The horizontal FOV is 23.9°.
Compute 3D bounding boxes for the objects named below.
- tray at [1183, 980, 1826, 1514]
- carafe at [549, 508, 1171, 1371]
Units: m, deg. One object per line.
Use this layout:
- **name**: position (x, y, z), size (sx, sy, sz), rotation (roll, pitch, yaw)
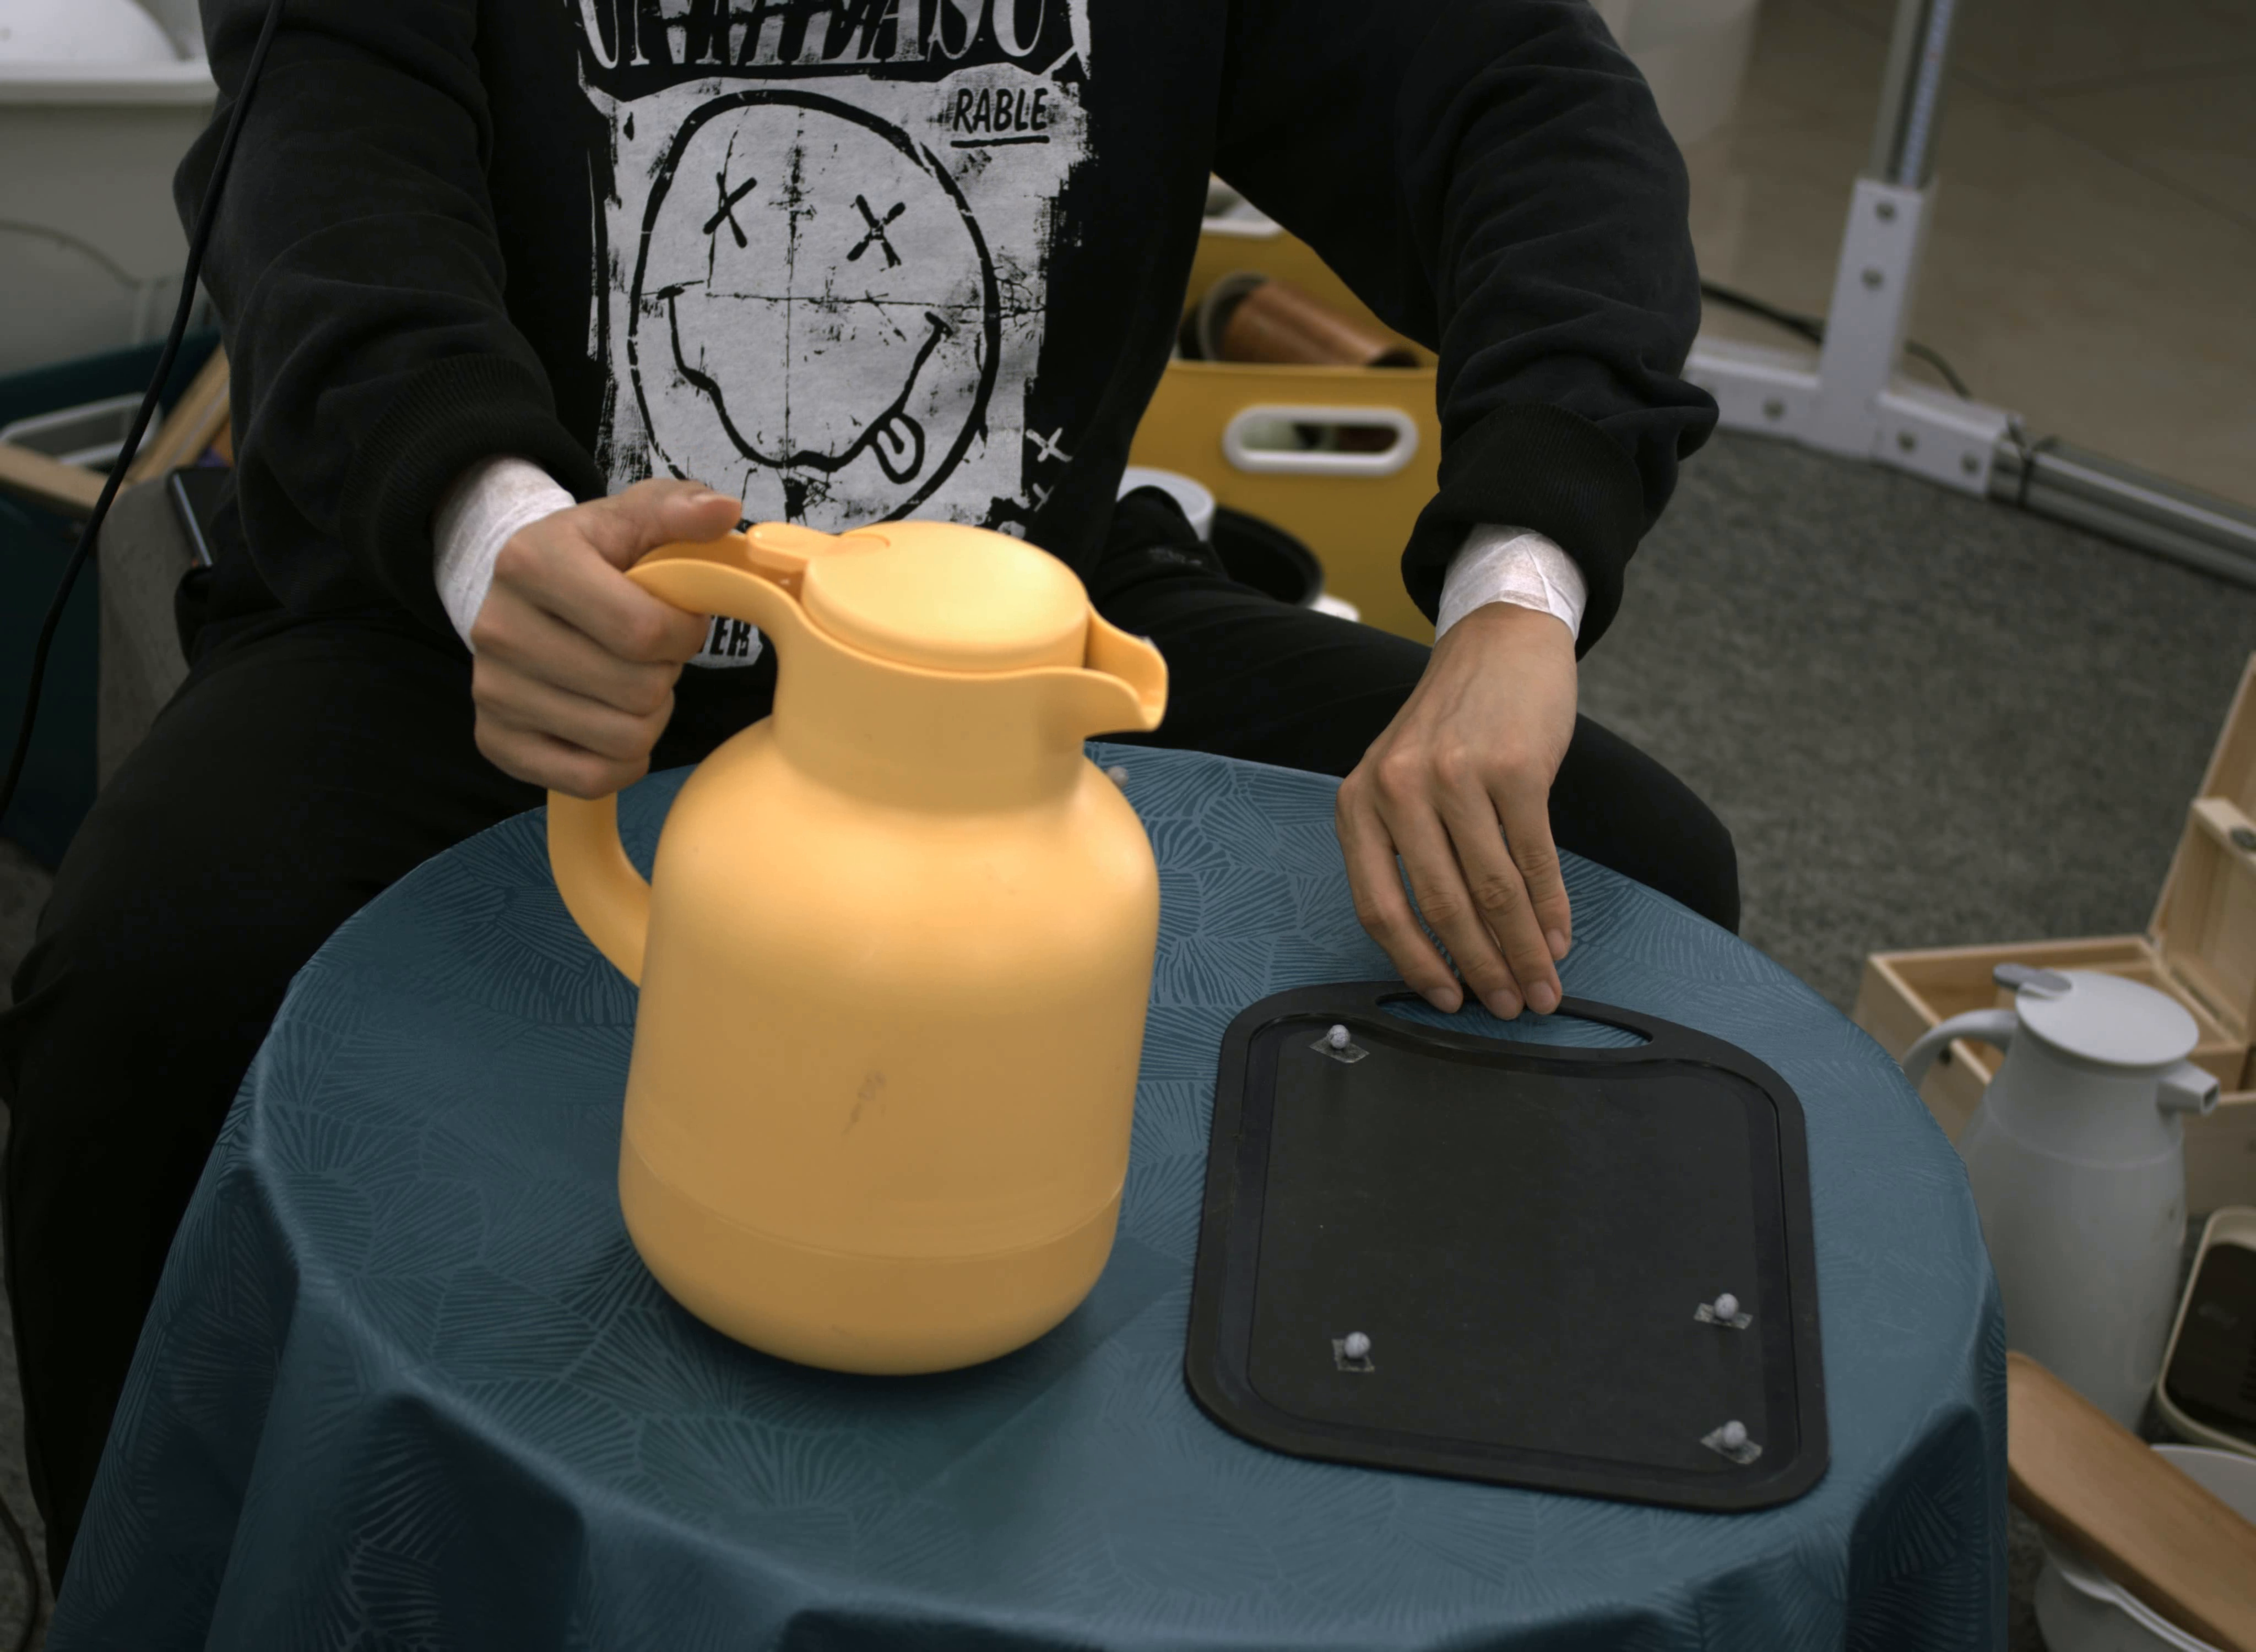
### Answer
- **tray**: position (0.130, 0.132, 1.810), size (0.210, 0.010, 0.327), rotation (8, 27, 2)
- **carafe**: position (-0.091, 0.025, 1.686), size (0.203, 0.260, 0.163), rotation (20, 26, 18)
